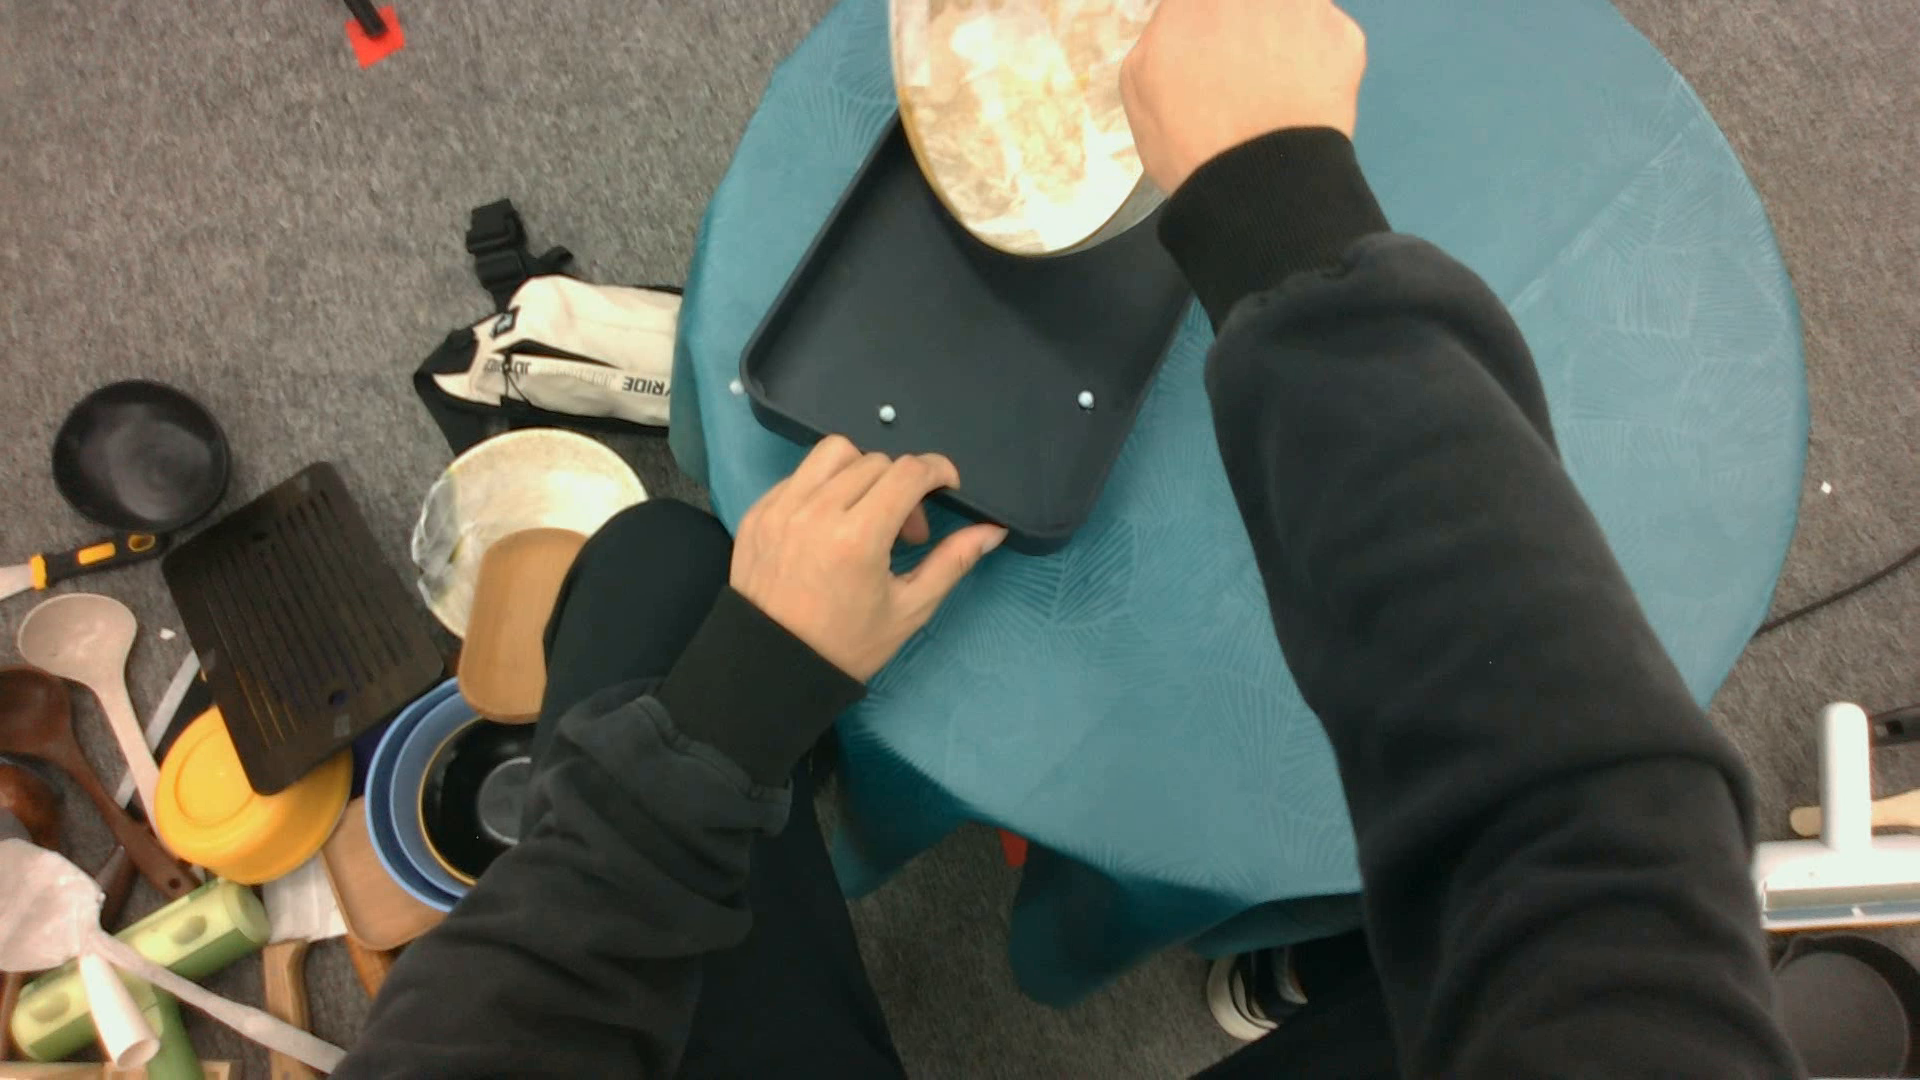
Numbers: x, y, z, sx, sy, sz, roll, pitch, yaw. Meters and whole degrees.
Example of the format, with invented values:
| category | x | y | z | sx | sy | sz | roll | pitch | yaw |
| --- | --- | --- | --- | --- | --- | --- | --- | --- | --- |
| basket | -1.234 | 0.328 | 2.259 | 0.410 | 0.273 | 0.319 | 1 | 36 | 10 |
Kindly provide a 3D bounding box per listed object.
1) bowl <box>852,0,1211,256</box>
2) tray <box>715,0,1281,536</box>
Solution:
| category | x | y | z | sx | sy | sz | roll | pitch | yaw |
| --- | --- | --- | --- | --- | --- | --- | --- | --- | --- |
| bowl | 0.046 | -0.237 | 0.650 | 0.095 | 0.213 | 0.215 | -16 | 73 | -39 |
| tray | 0.027 | -0.169 | 0.708 | 0.184 | 0.037 | 0.319 | 27 | 69 | 3 |
